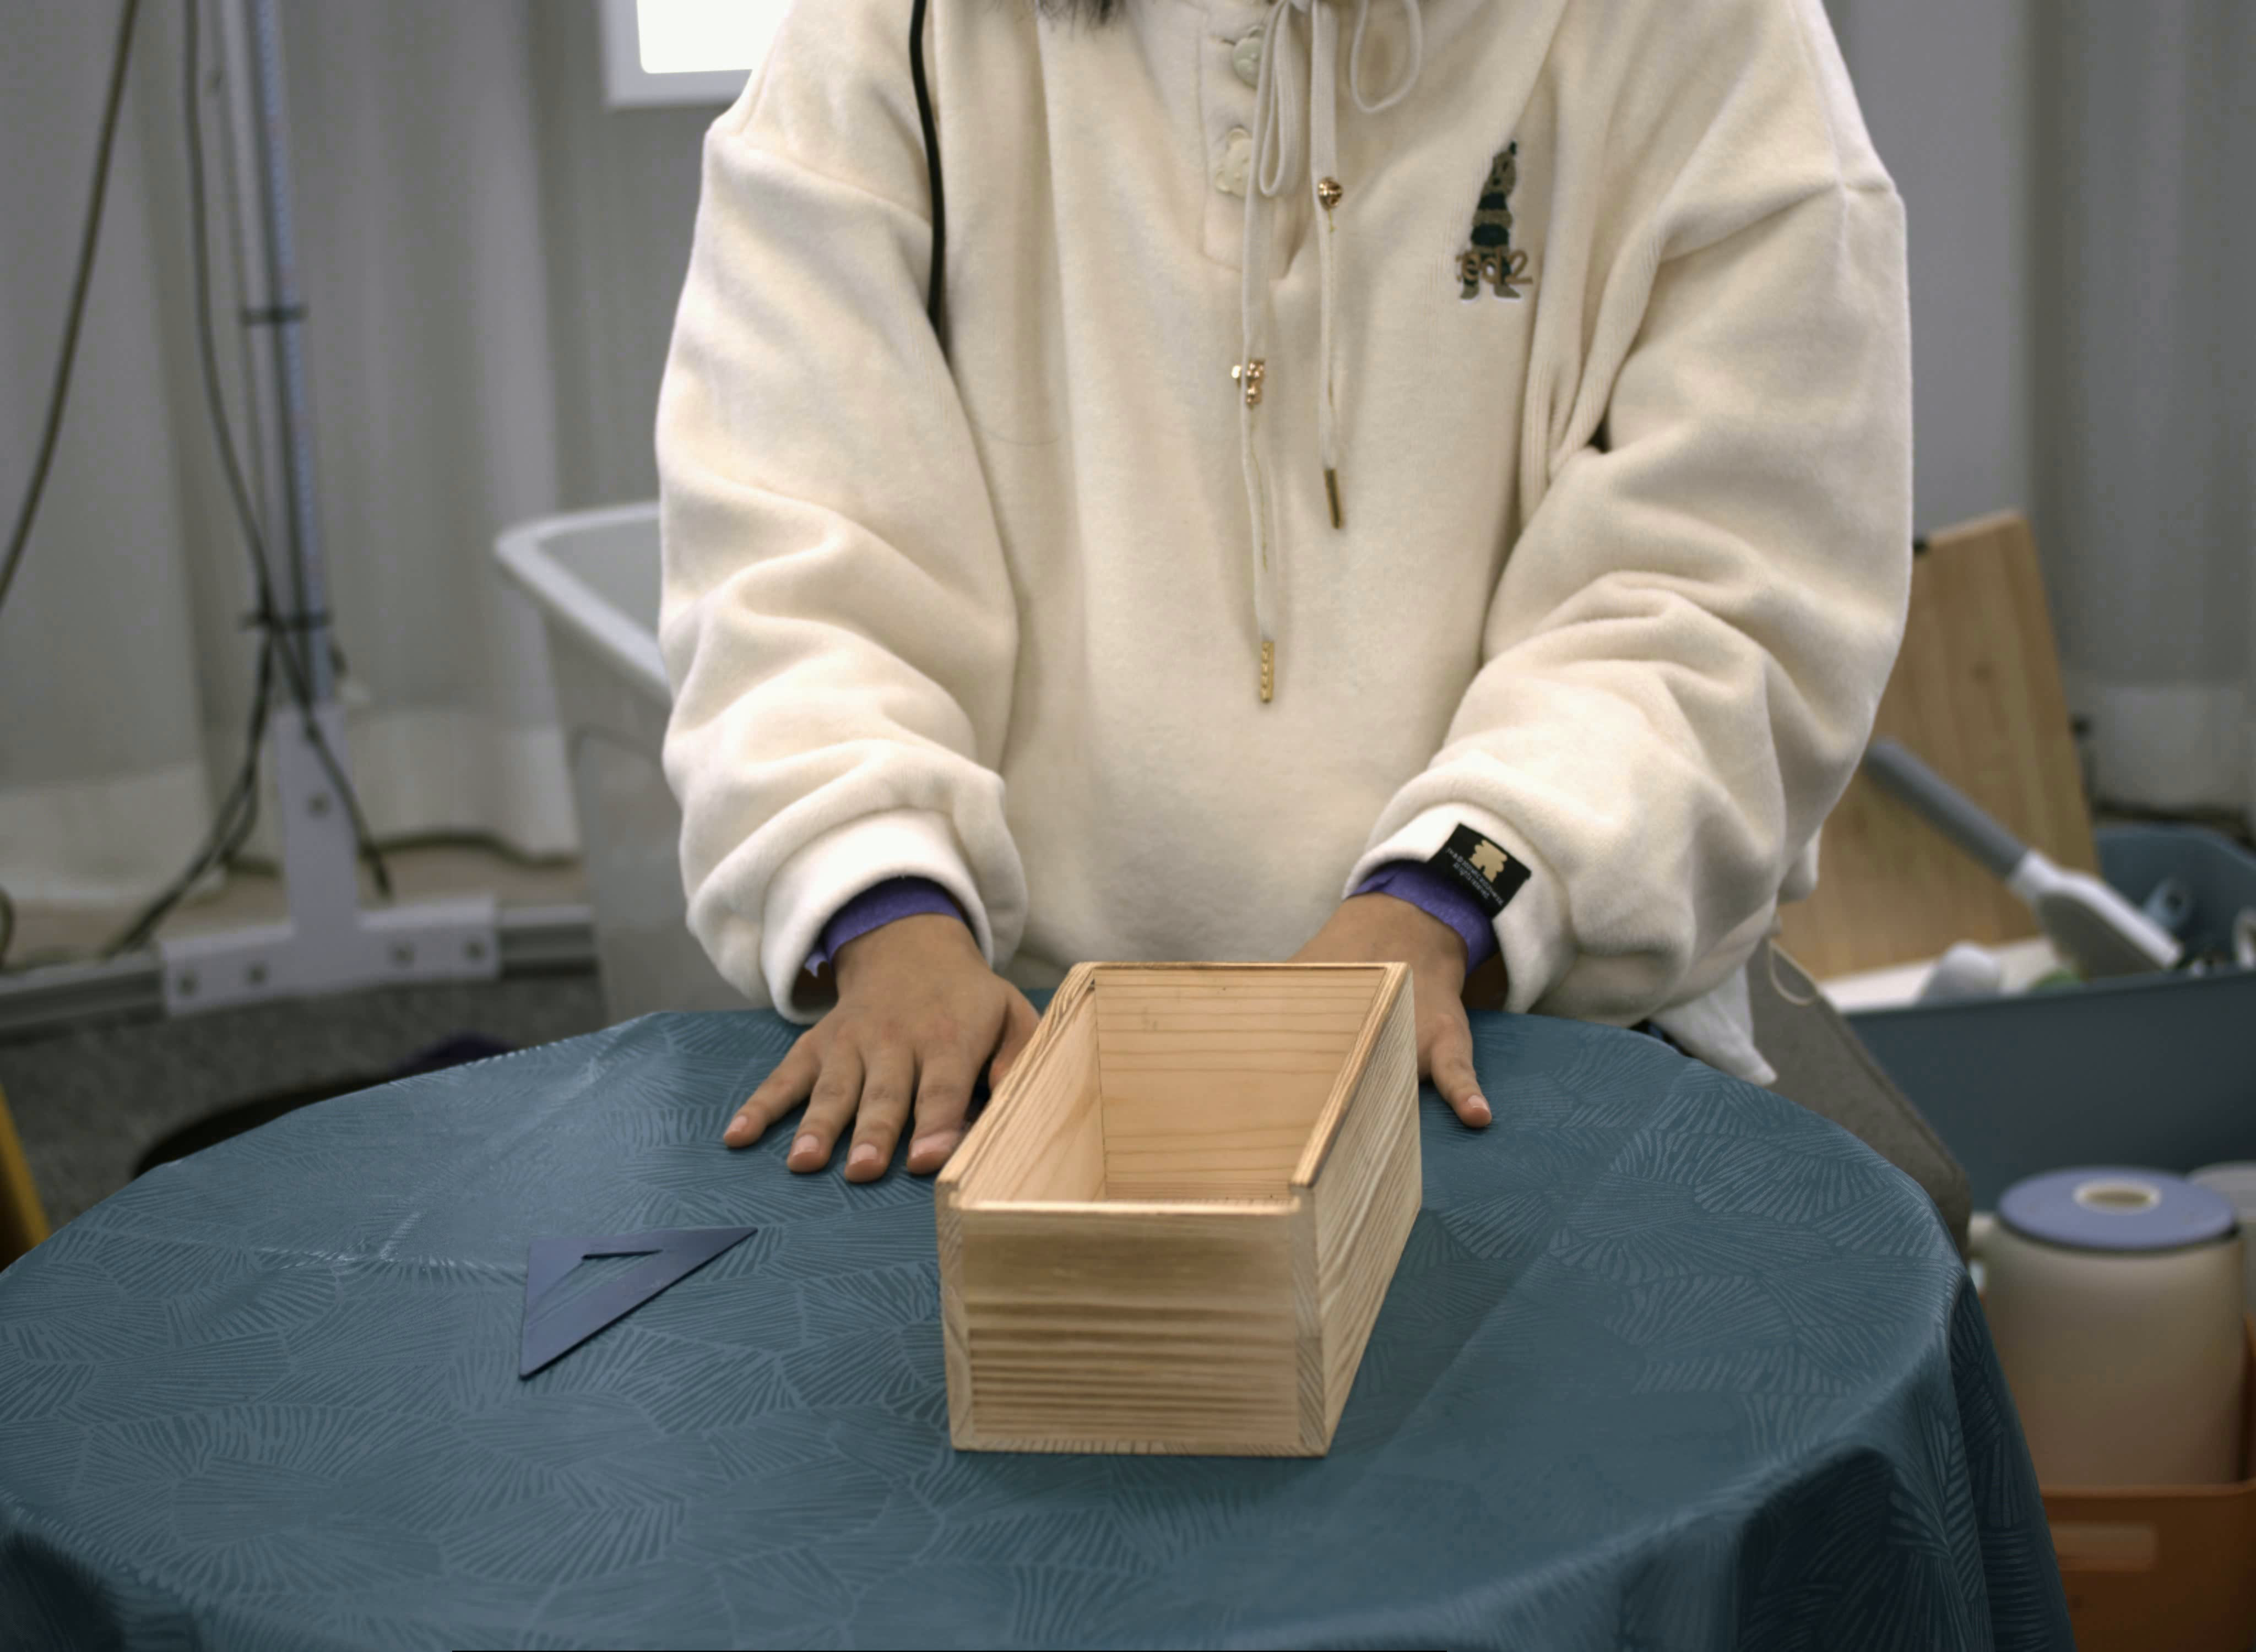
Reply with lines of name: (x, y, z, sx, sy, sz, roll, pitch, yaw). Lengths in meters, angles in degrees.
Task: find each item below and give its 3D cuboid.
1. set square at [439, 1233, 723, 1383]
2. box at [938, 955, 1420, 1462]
set square: (-0.180, 0.141, 1.642, 0.061, 0.006, 0.132, 7, 18, 30)
box: (0.019, 0.107, 1.586, 0.107, 0.080, 0.212, 0, 15, 10)
